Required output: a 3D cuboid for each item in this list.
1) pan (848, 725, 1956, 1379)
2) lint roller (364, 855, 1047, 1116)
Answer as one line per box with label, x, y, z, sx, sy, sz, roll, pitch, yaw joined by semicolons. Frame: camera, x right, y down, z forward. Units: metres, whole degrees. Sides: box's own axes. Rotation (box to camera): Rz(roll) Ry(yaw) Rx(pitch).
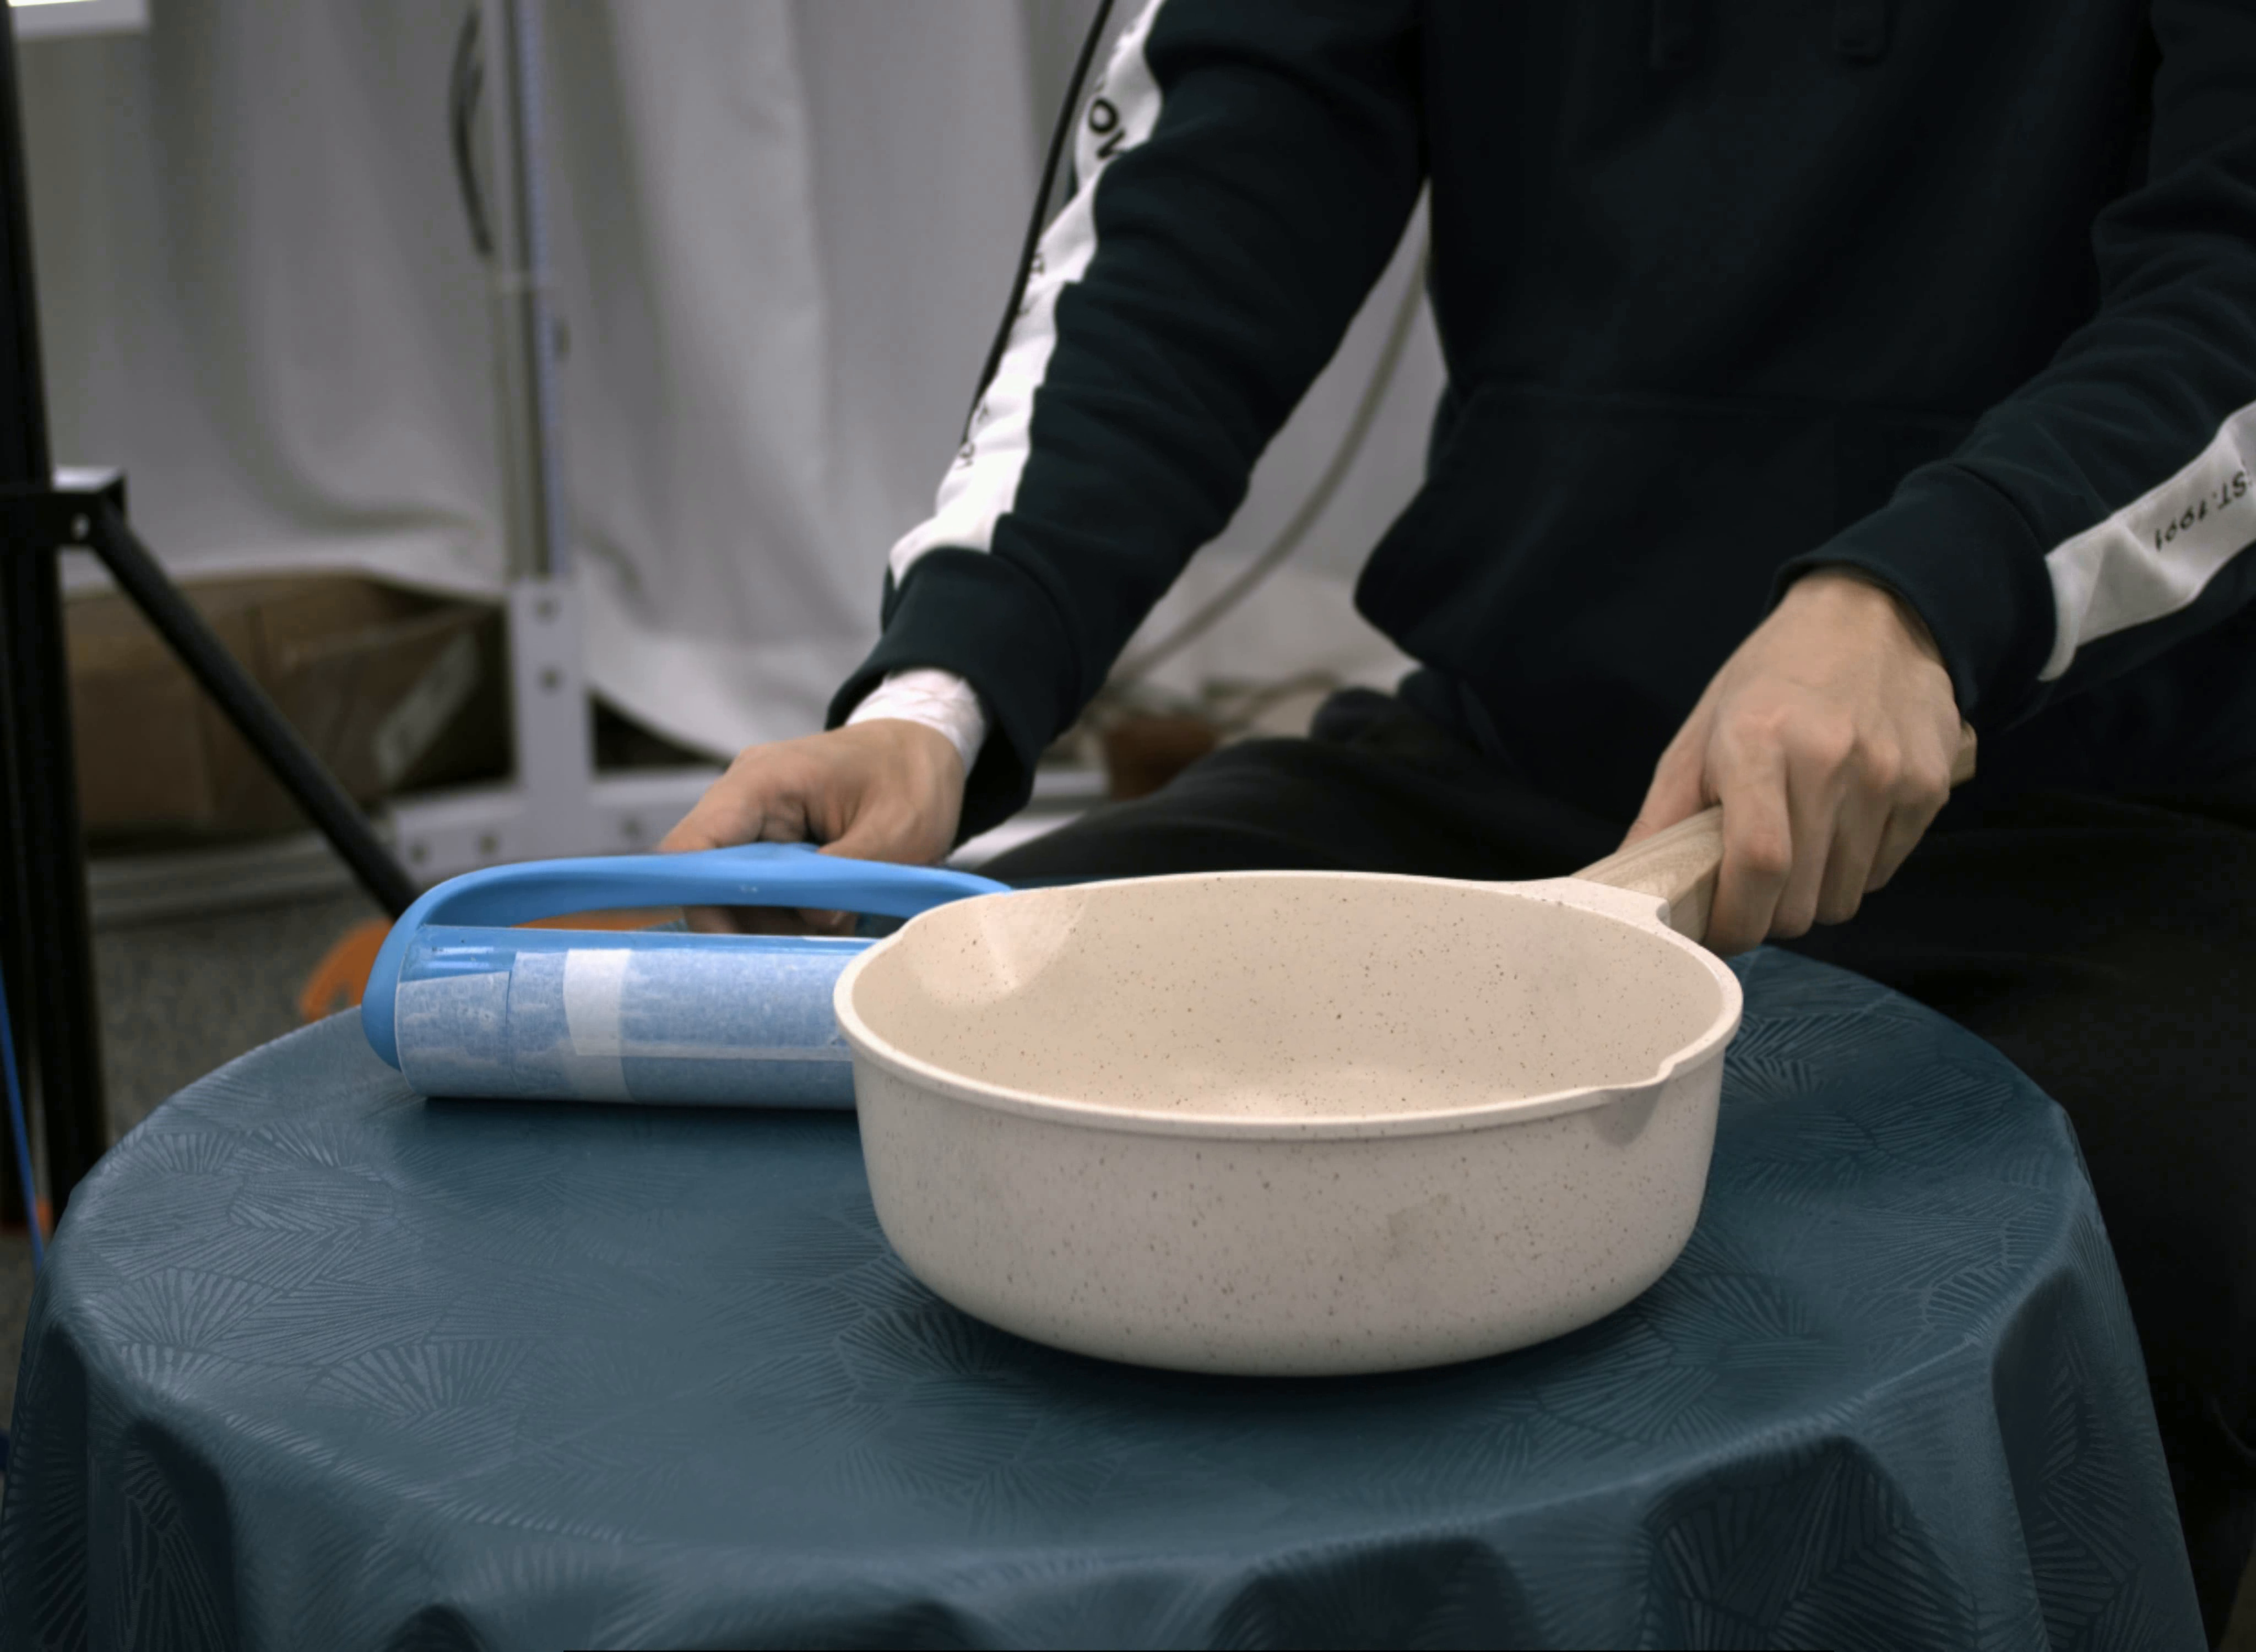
pan;0.110;0.060;1.527;0.269;0.102;0.425;11;19;43
lint roller;-0.117;0.040;1.703;0.230;0.068;0.180;-1;20;11
